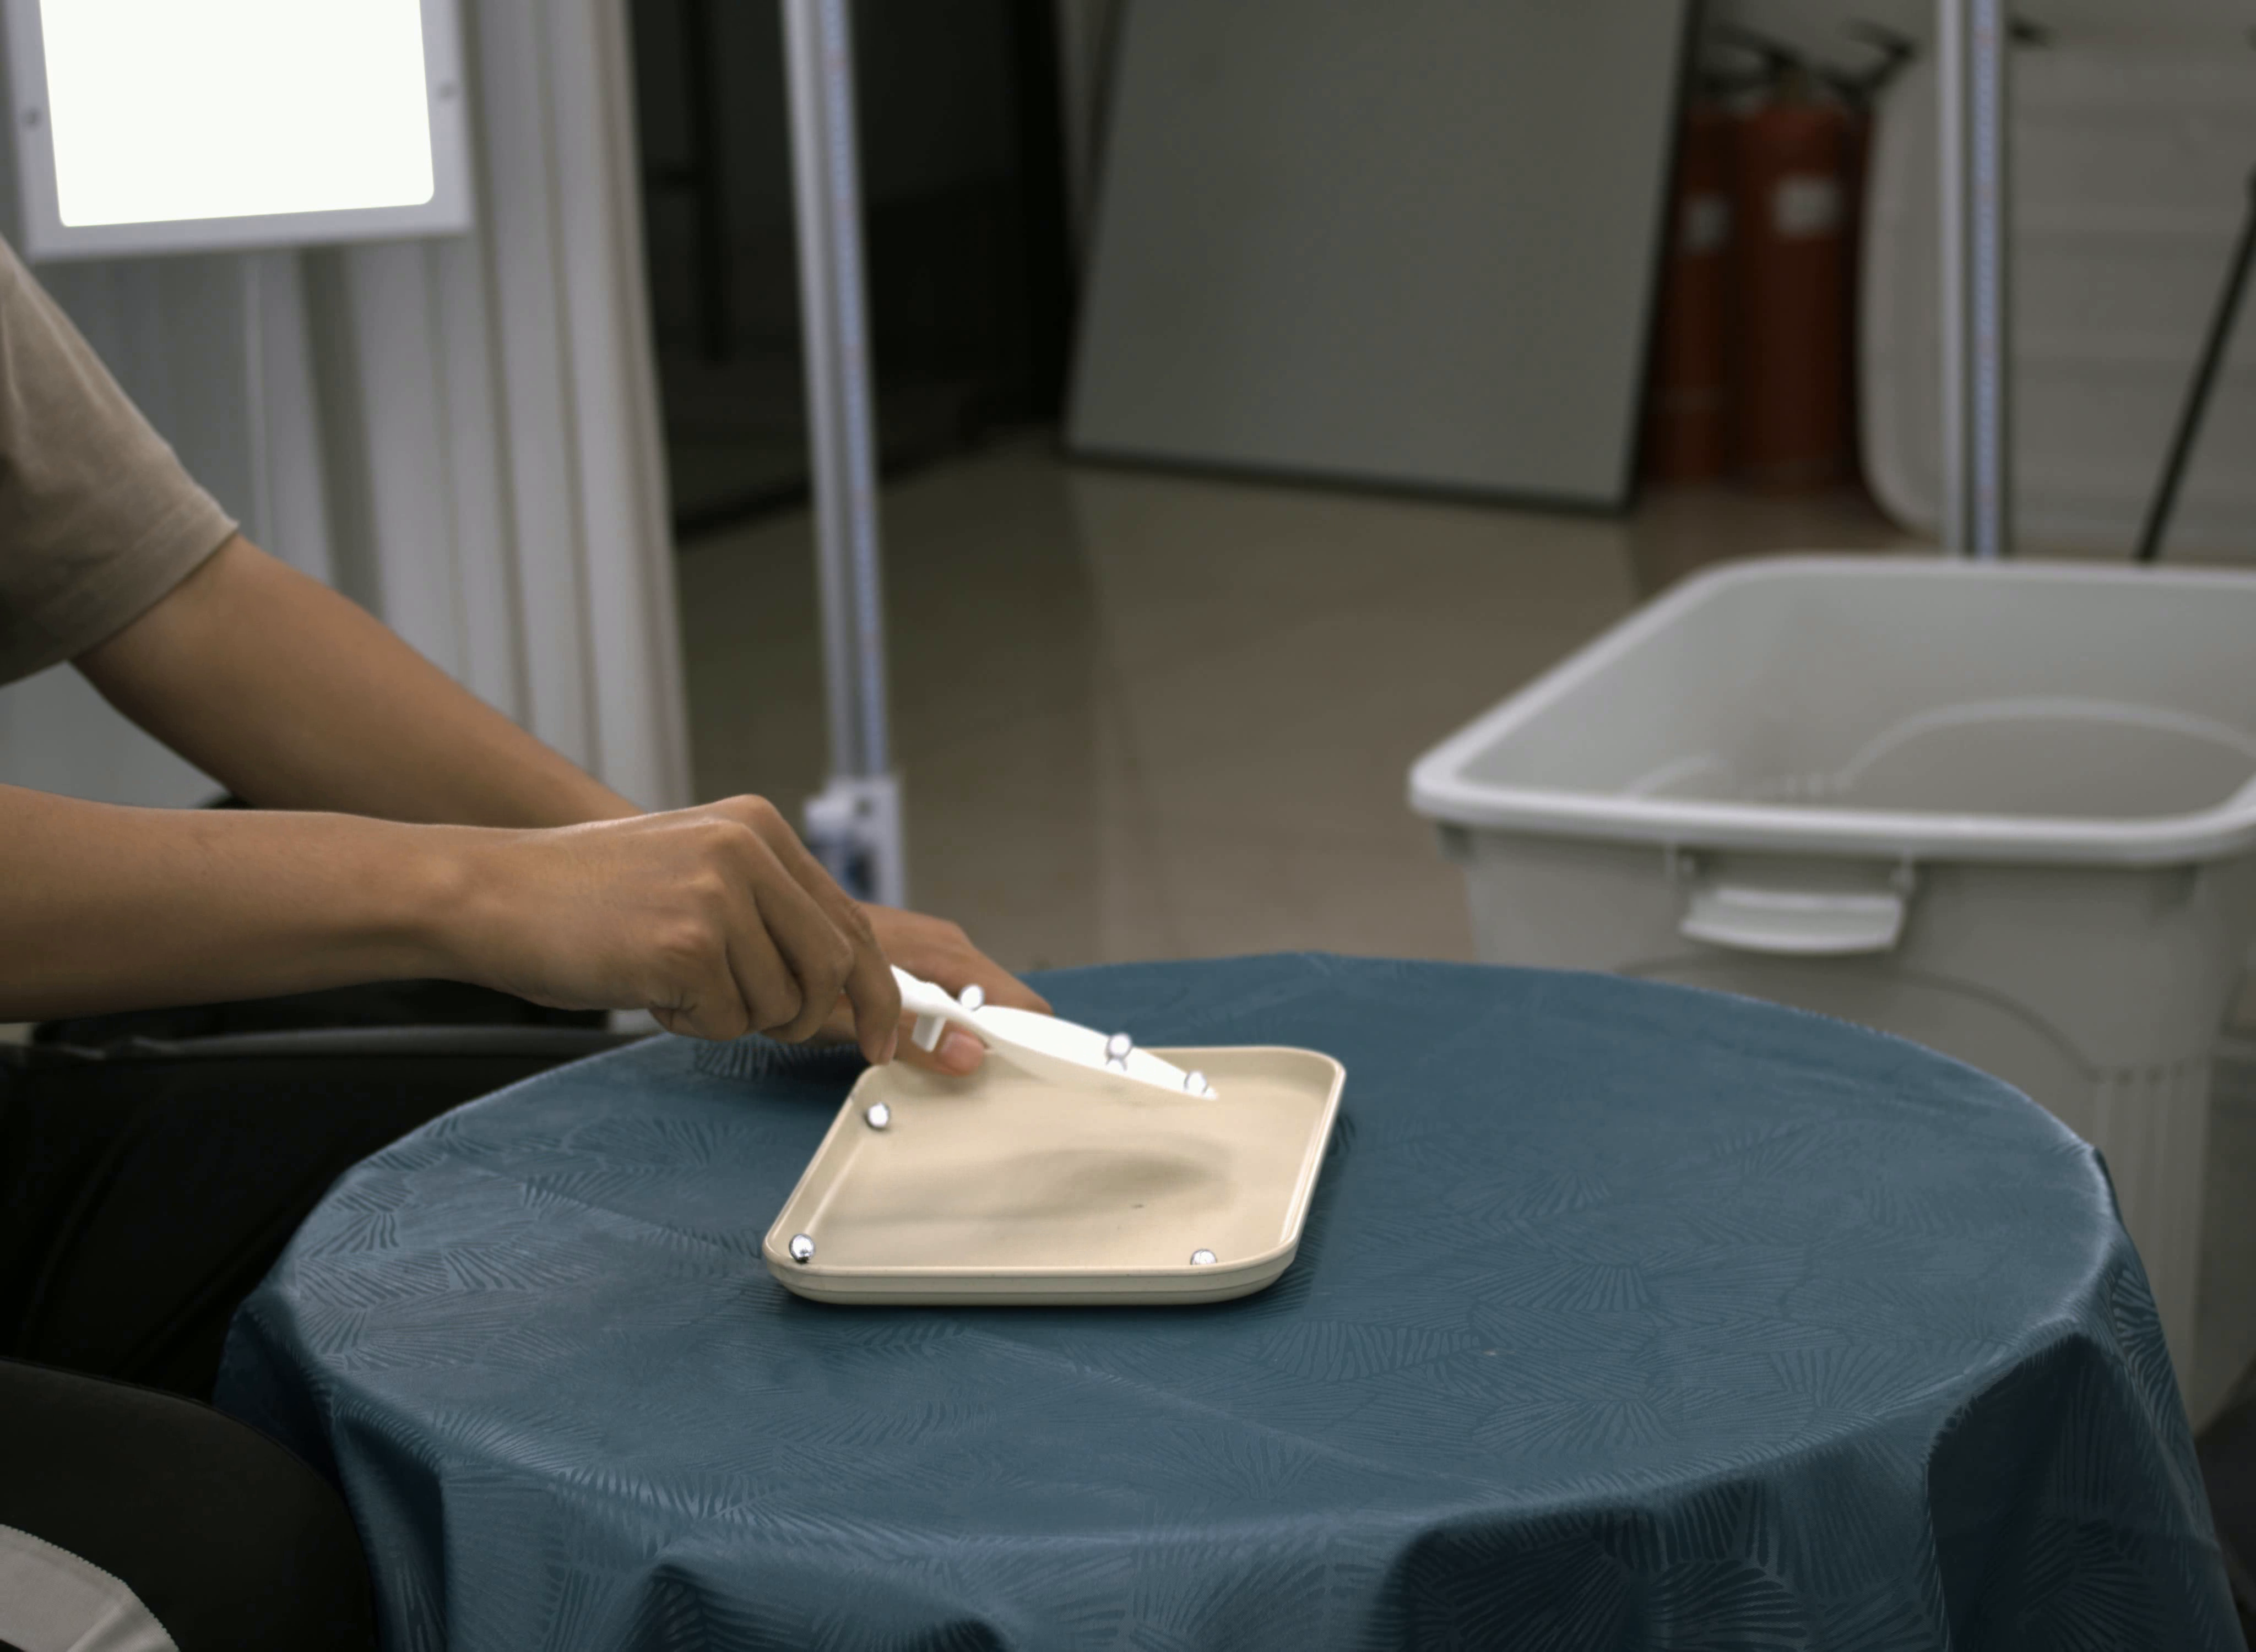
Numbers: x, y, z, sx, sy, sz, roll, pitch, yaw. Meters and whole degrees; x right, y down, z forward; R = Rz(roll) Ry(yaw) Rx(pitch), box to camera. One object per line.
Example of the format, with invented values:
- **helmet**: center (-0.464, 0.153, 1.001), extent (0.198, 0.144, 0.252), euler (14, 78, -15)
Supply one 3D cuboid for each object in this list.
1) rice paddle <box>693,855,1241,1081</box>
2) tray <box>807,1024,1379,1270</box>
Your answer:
- **rice paddle**: center (-0.047, 0.050, 1.750), extent (0.201, 0.030, 0.069), euler (18, 7, -30)
- **tray**: center (-0.007, 0.105, 1.778), extent (0.170, 0.018, 0.239), euler (-1, 13, 9)
